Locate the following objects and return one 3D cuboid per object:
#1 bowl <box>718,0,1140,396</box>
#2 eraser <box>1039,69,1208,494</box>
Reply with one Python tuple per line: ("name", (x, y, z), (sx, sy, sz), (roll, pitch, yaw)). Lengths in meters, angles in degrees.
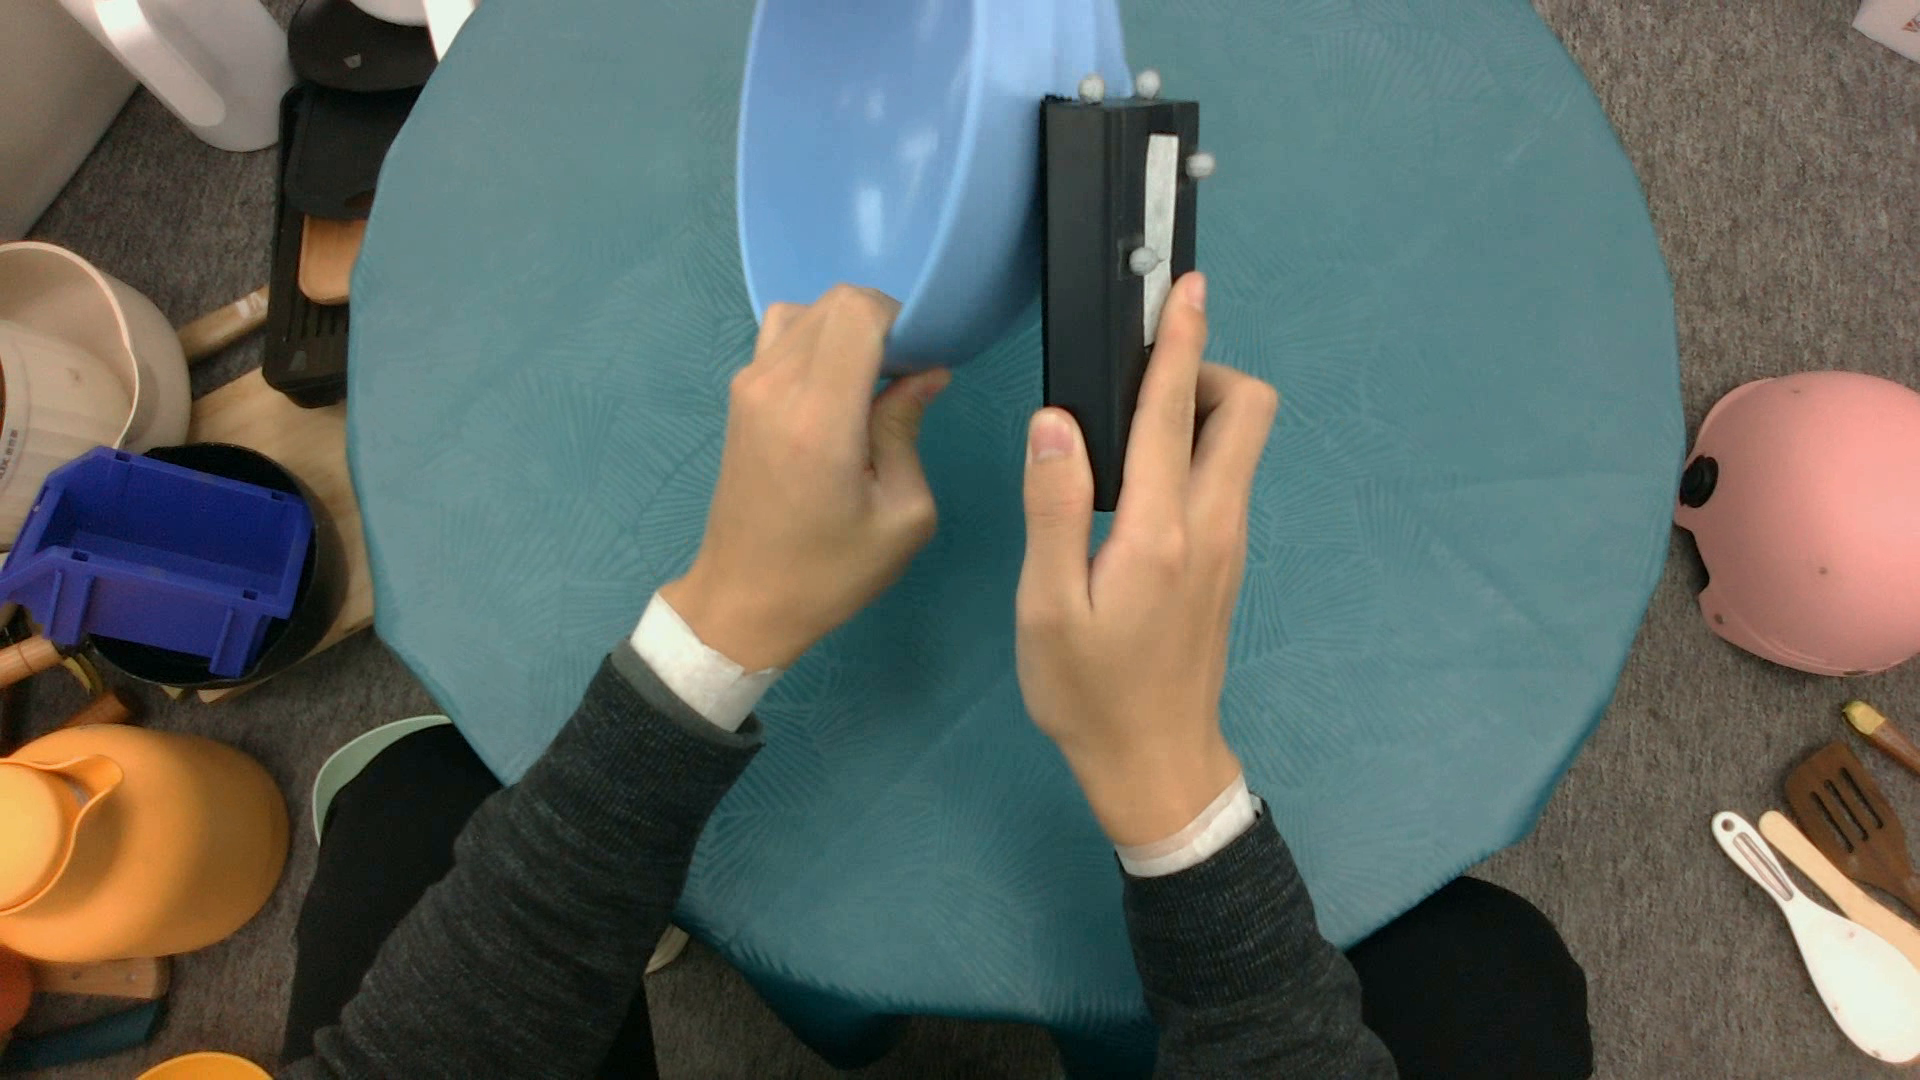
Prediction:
("bowl", (-0.002, -0.144, 0.510), (0.095, 0.195, 0.197), (7, 73, -38))
("eraser", (0.050, -0.081, 0.431), (0.054, 0.030, 0.125), (-23, 120, -42))
